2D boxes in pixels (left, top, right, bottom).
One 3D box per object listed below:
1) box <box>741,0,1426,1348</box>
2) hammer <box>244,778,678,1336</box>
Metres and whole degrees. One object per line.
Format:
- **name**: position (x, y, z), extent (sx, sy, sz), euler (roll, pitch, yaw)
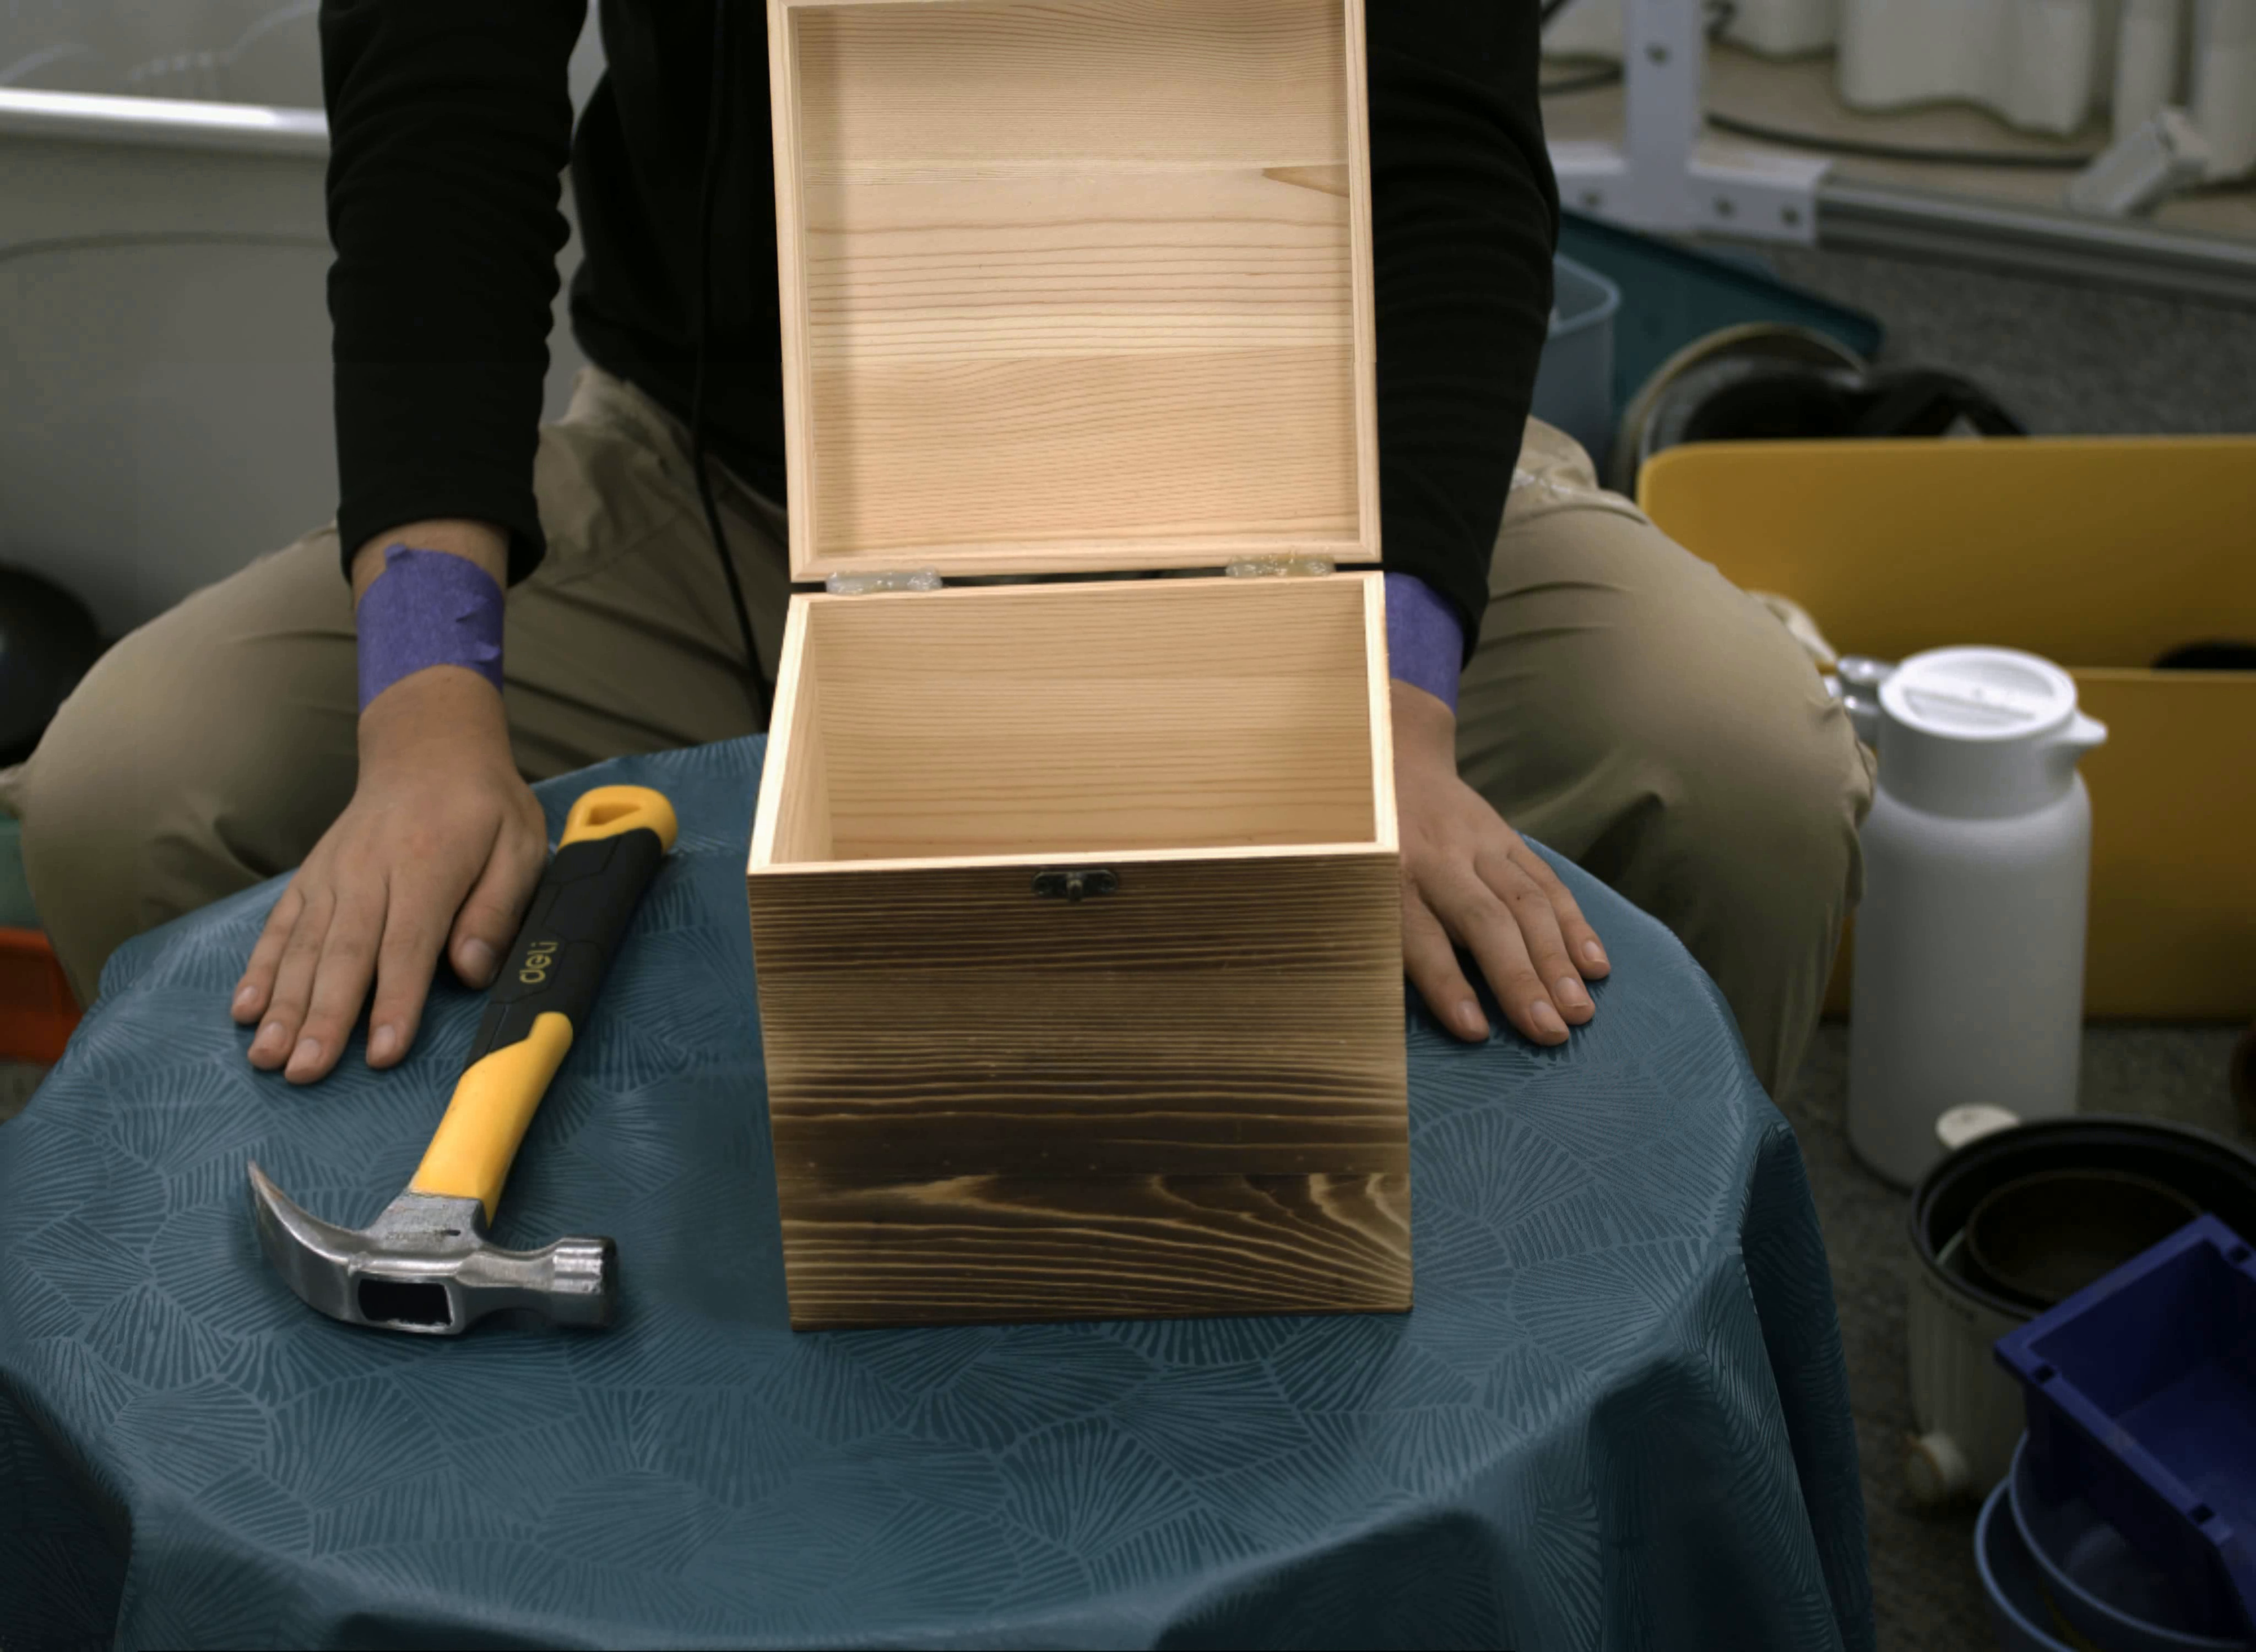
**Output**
- **box**: position (-0.018, -0.071, 1.845), extent (0.207, 0.371, 0.327), euler (-3, 26, 2)
- **hammer**: position (-0.209, 0.072, 1.938), extent (0.130, 0.032, 0.344), euler (1, 28, 8)
